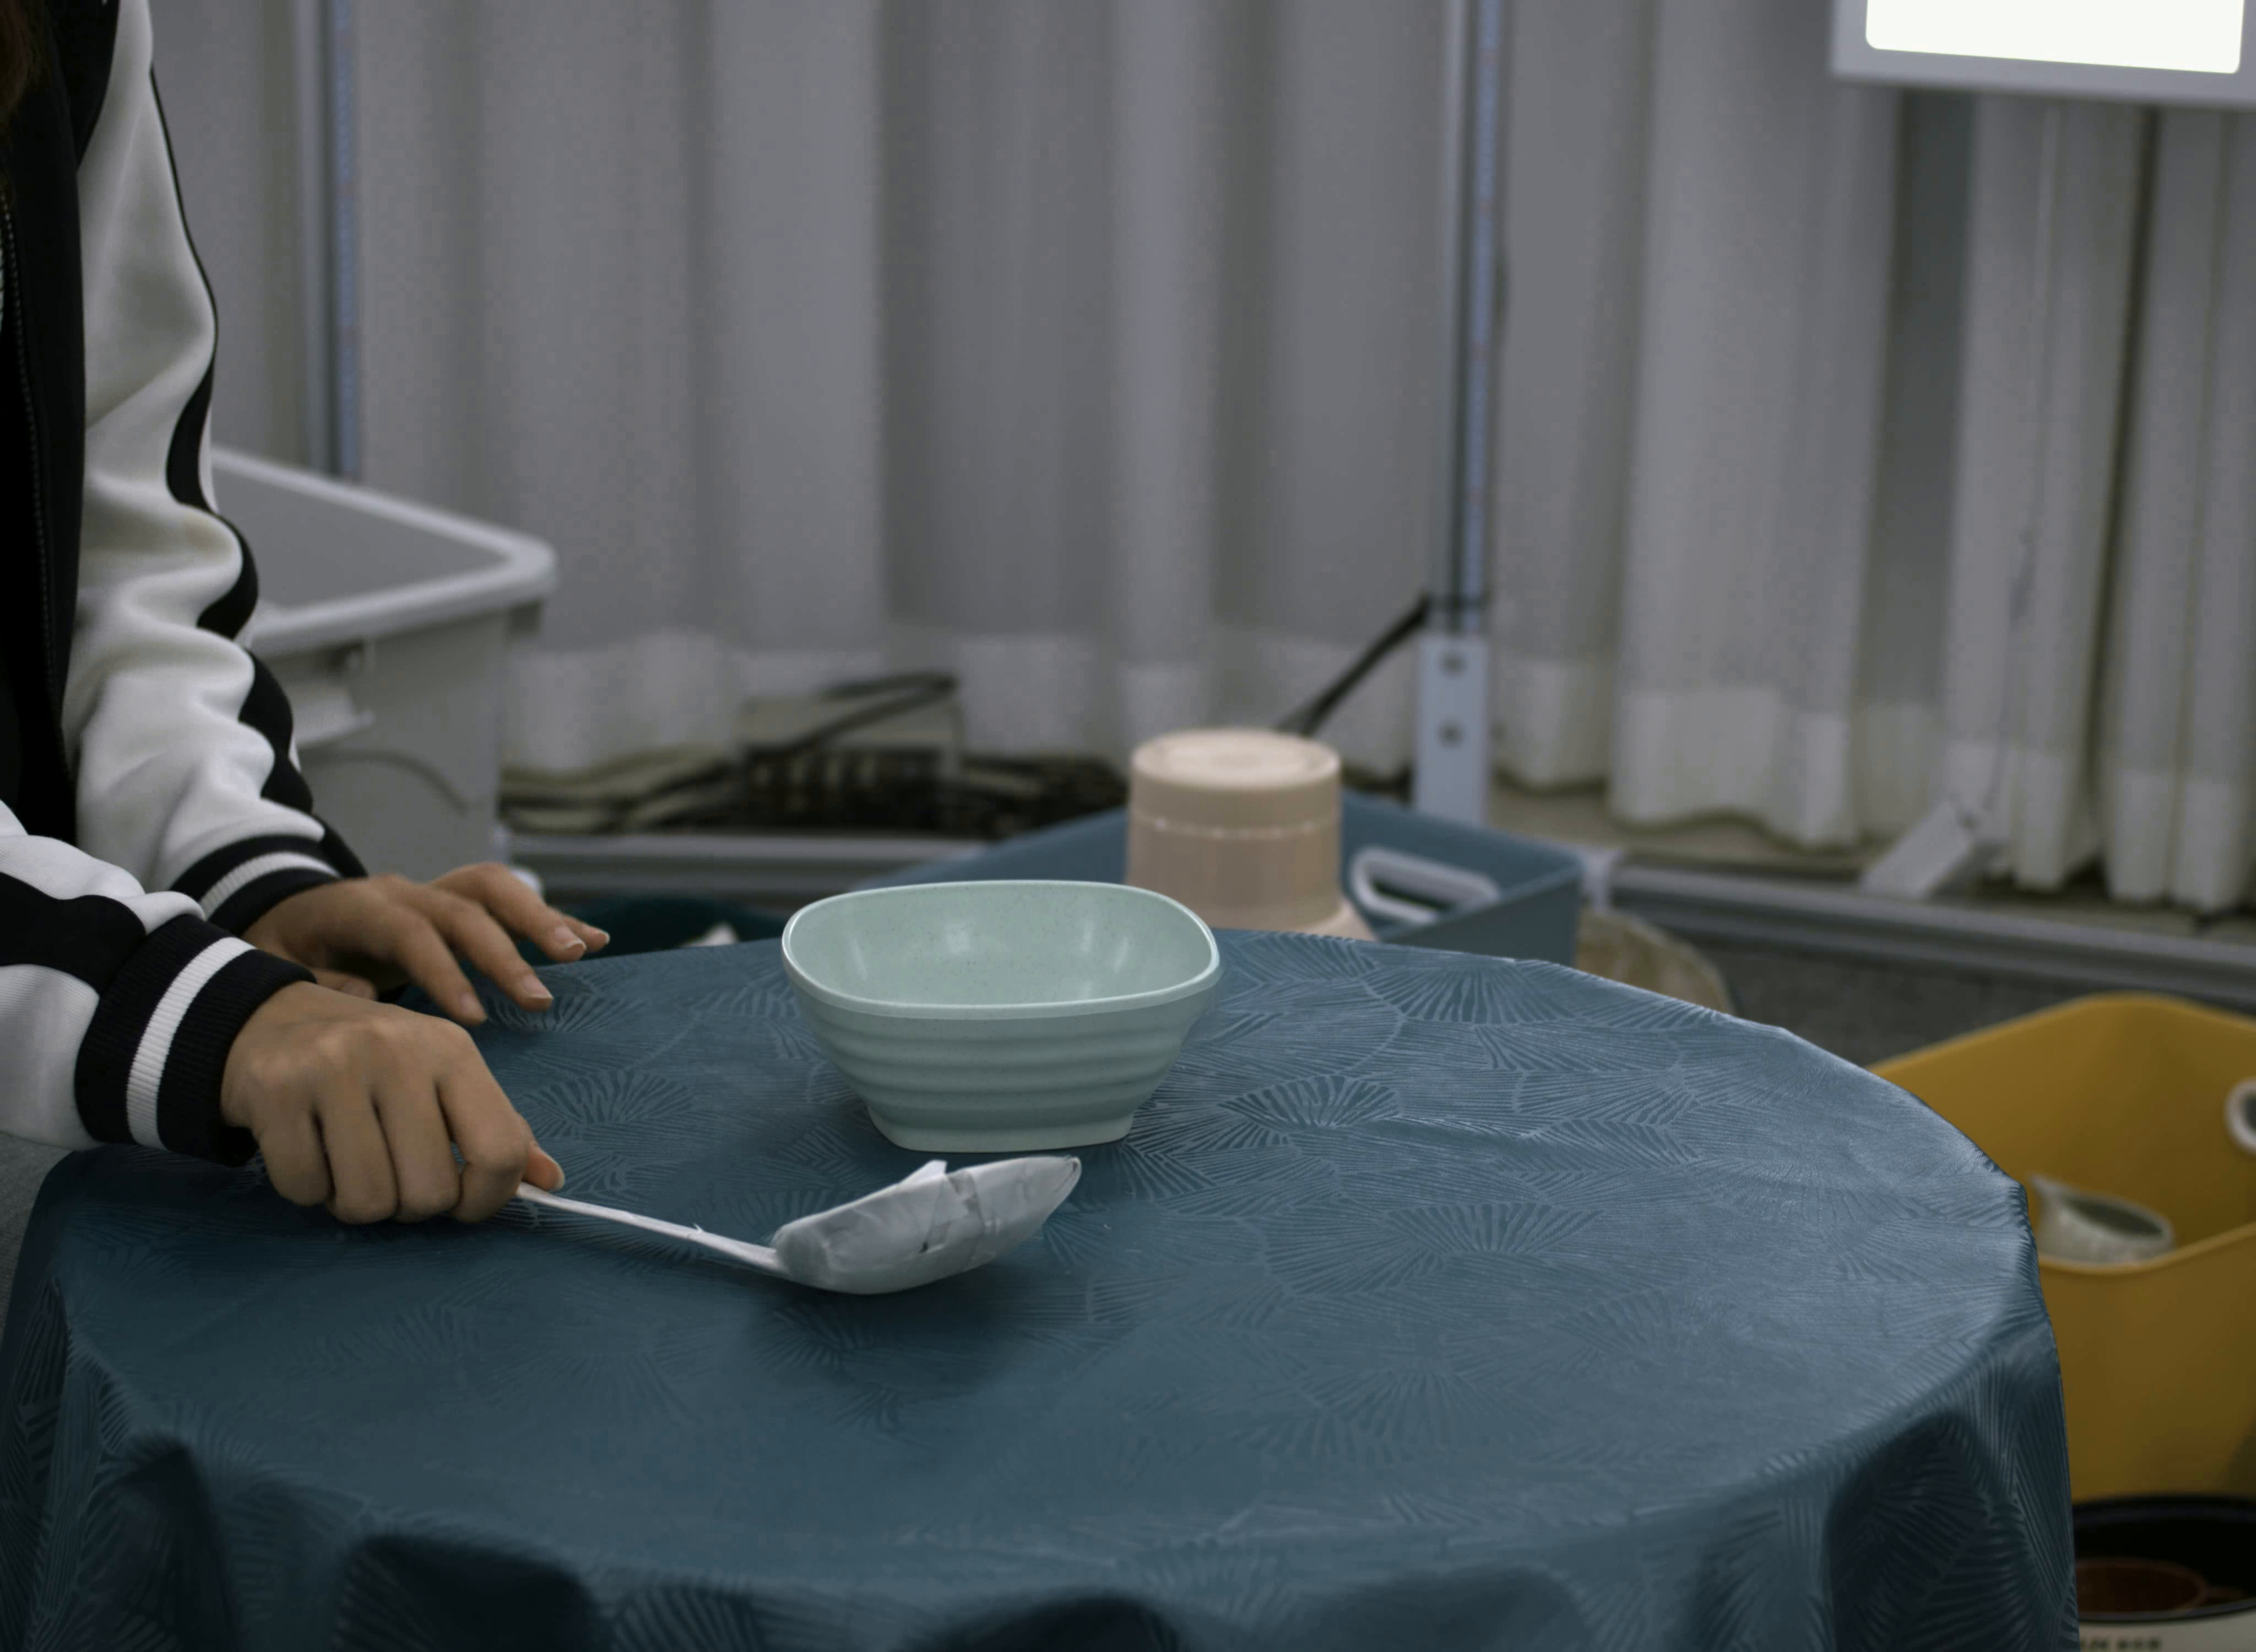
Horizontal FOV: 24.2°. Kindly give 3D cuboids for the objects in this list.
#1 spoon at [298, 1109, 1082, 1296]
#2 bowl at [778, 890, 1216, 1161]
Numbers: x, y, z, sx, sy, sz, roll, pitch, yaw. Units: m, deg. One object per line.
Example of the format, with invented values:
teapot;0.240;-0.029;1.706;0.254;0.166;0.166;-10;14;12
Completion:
spoon;-0.137;0.093;1.571;0.274;0.059;0.101;14;-1;33
bowl;-0.042;0.067;1.687;0.151;0.059;0.150;1;15;0
